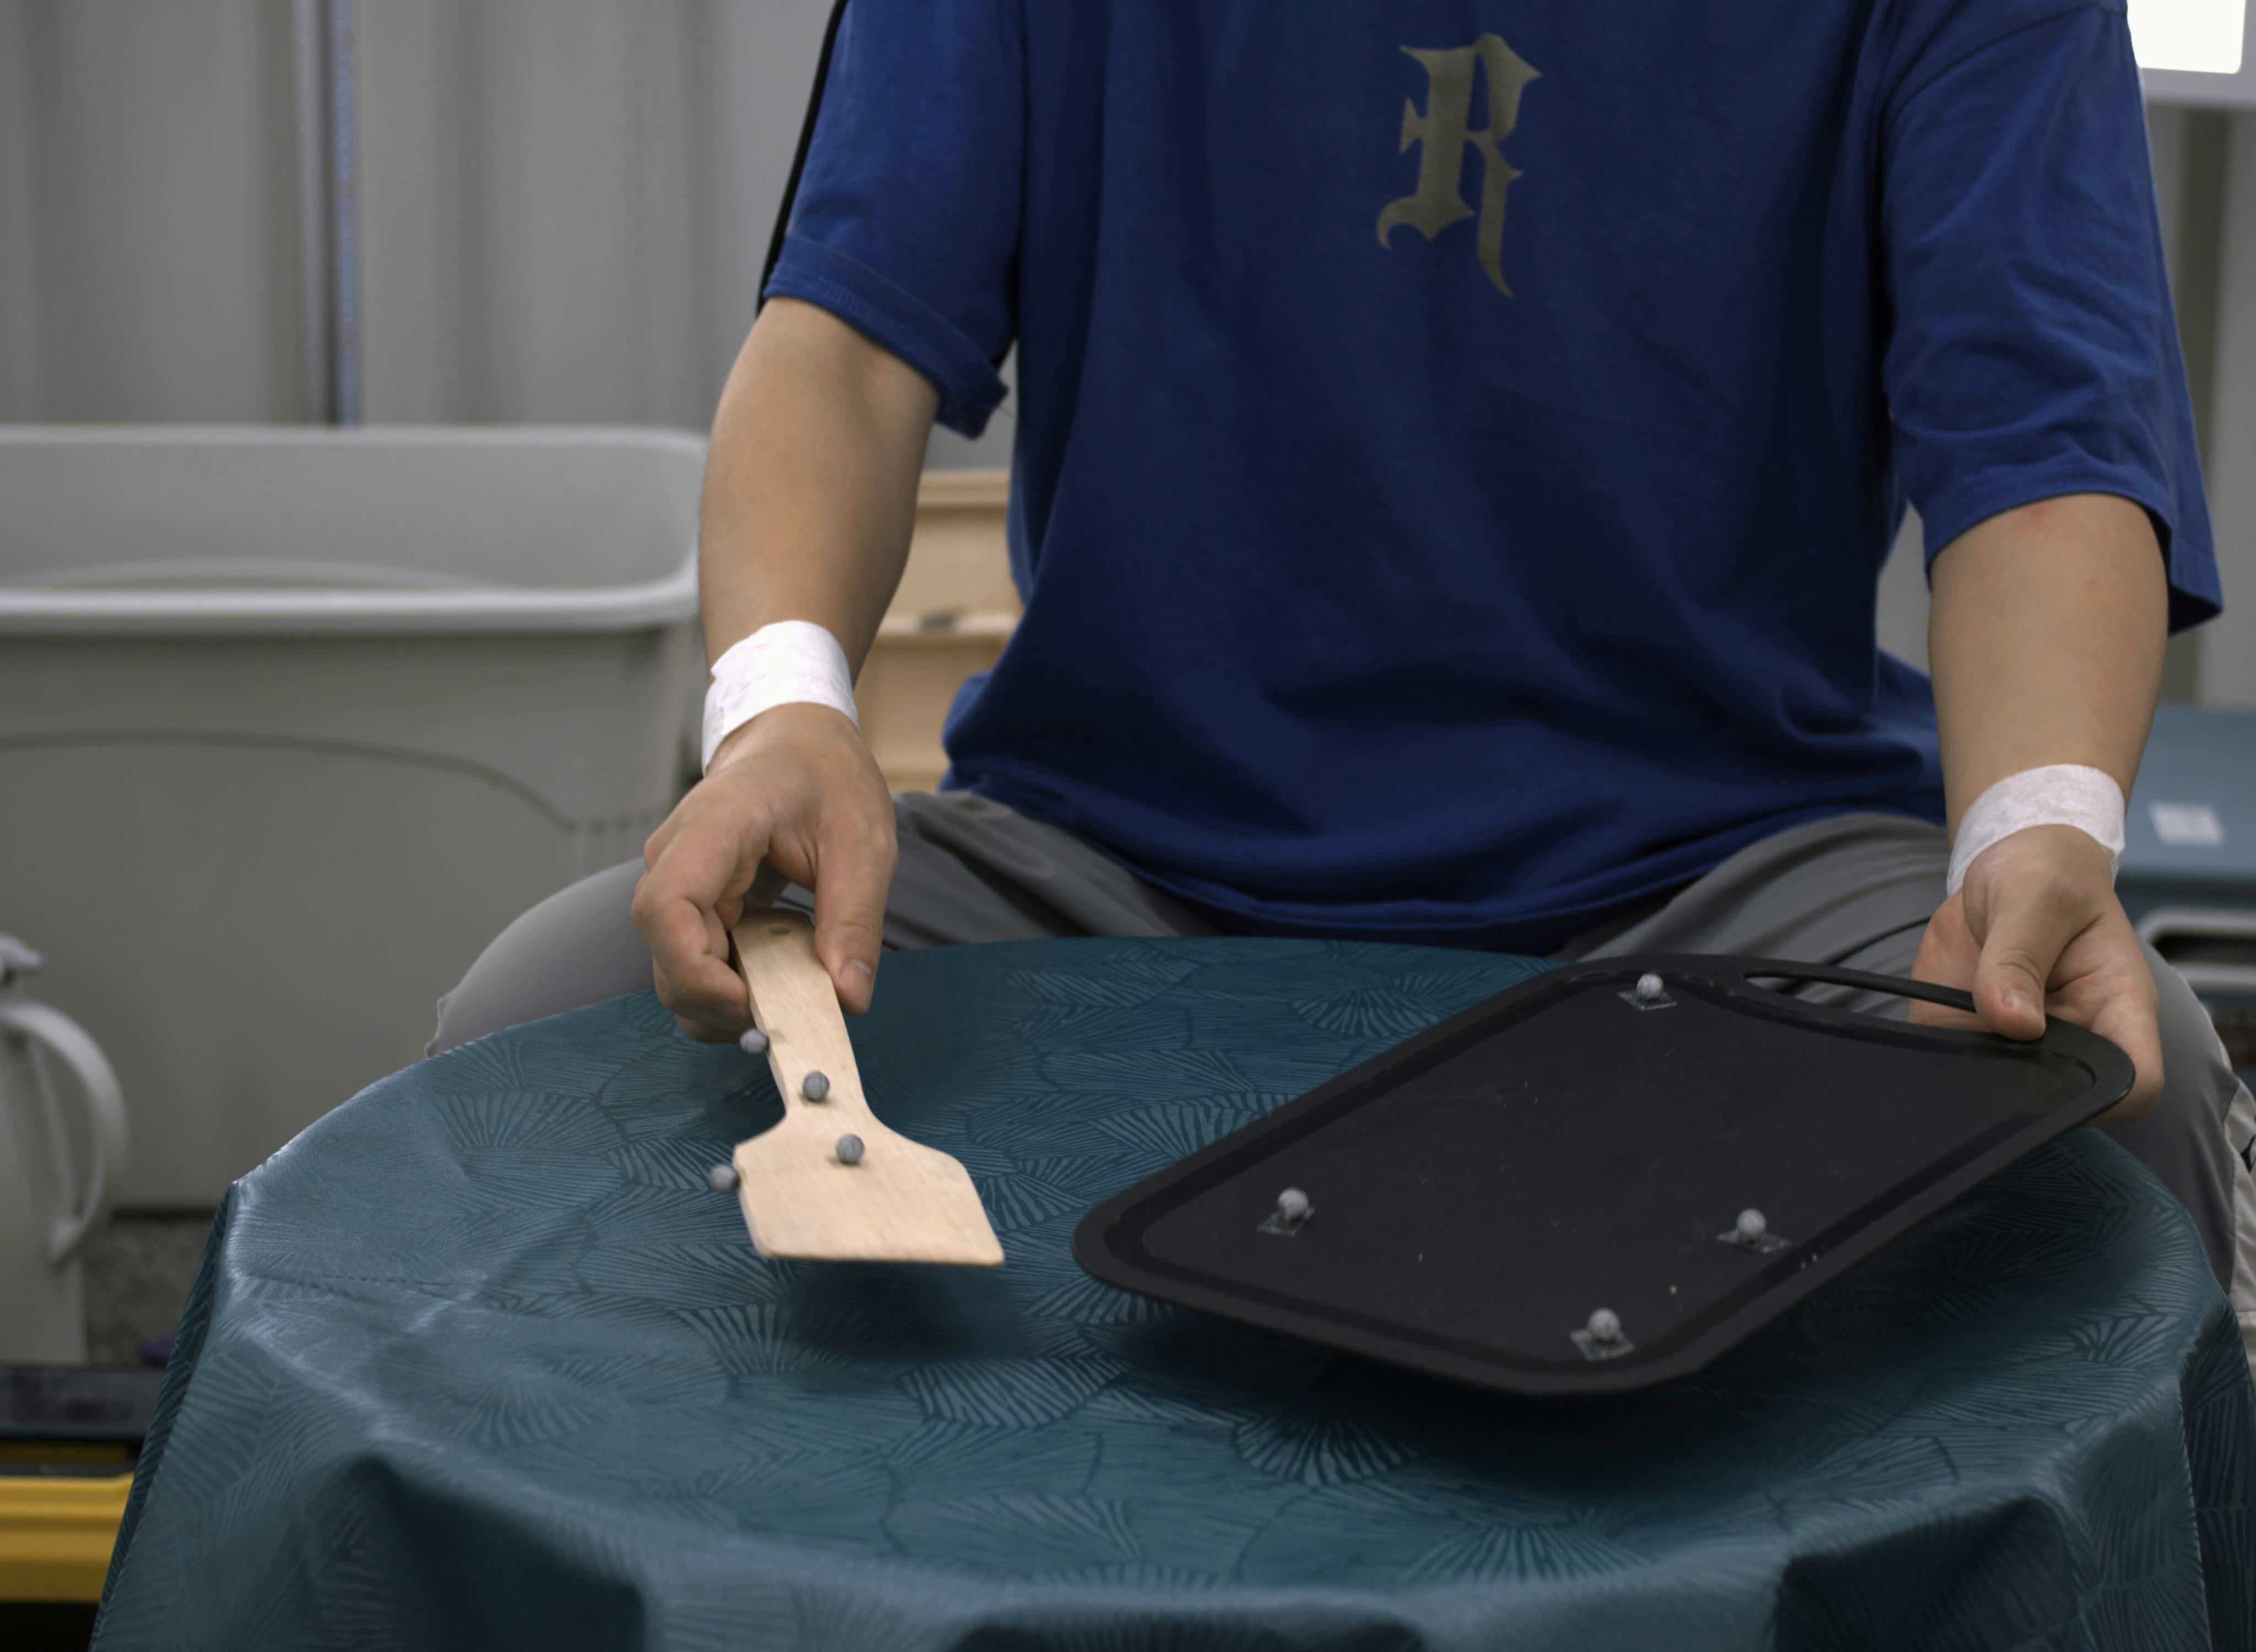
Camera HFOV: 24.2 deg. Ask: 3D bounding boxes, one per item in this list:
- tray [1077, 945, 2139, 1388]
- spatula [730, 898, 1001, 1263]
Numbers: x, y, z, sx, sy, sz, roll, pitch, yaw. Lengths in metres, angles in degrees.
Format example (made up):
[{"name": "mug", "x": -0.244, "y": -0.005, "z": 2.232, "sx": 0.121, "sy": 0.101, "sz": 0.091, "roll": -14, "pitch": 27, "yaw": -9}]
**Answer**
[{"name": "tray", "x": 0.148, "y": 0.089, "z": 1.538, "sx": 0.208, "sy": 0.010, "sz": 0.326, "roll": 12, "pitch": 23, "yaw": 38}, {"name": "spatula", "x": -0.095, "y": 0.074, "z": 1.603, "sx": 0.072, "sy": 0.011, "sz": 0.290, "roll": 3, "pitch": 19, "yaw": -12}]
